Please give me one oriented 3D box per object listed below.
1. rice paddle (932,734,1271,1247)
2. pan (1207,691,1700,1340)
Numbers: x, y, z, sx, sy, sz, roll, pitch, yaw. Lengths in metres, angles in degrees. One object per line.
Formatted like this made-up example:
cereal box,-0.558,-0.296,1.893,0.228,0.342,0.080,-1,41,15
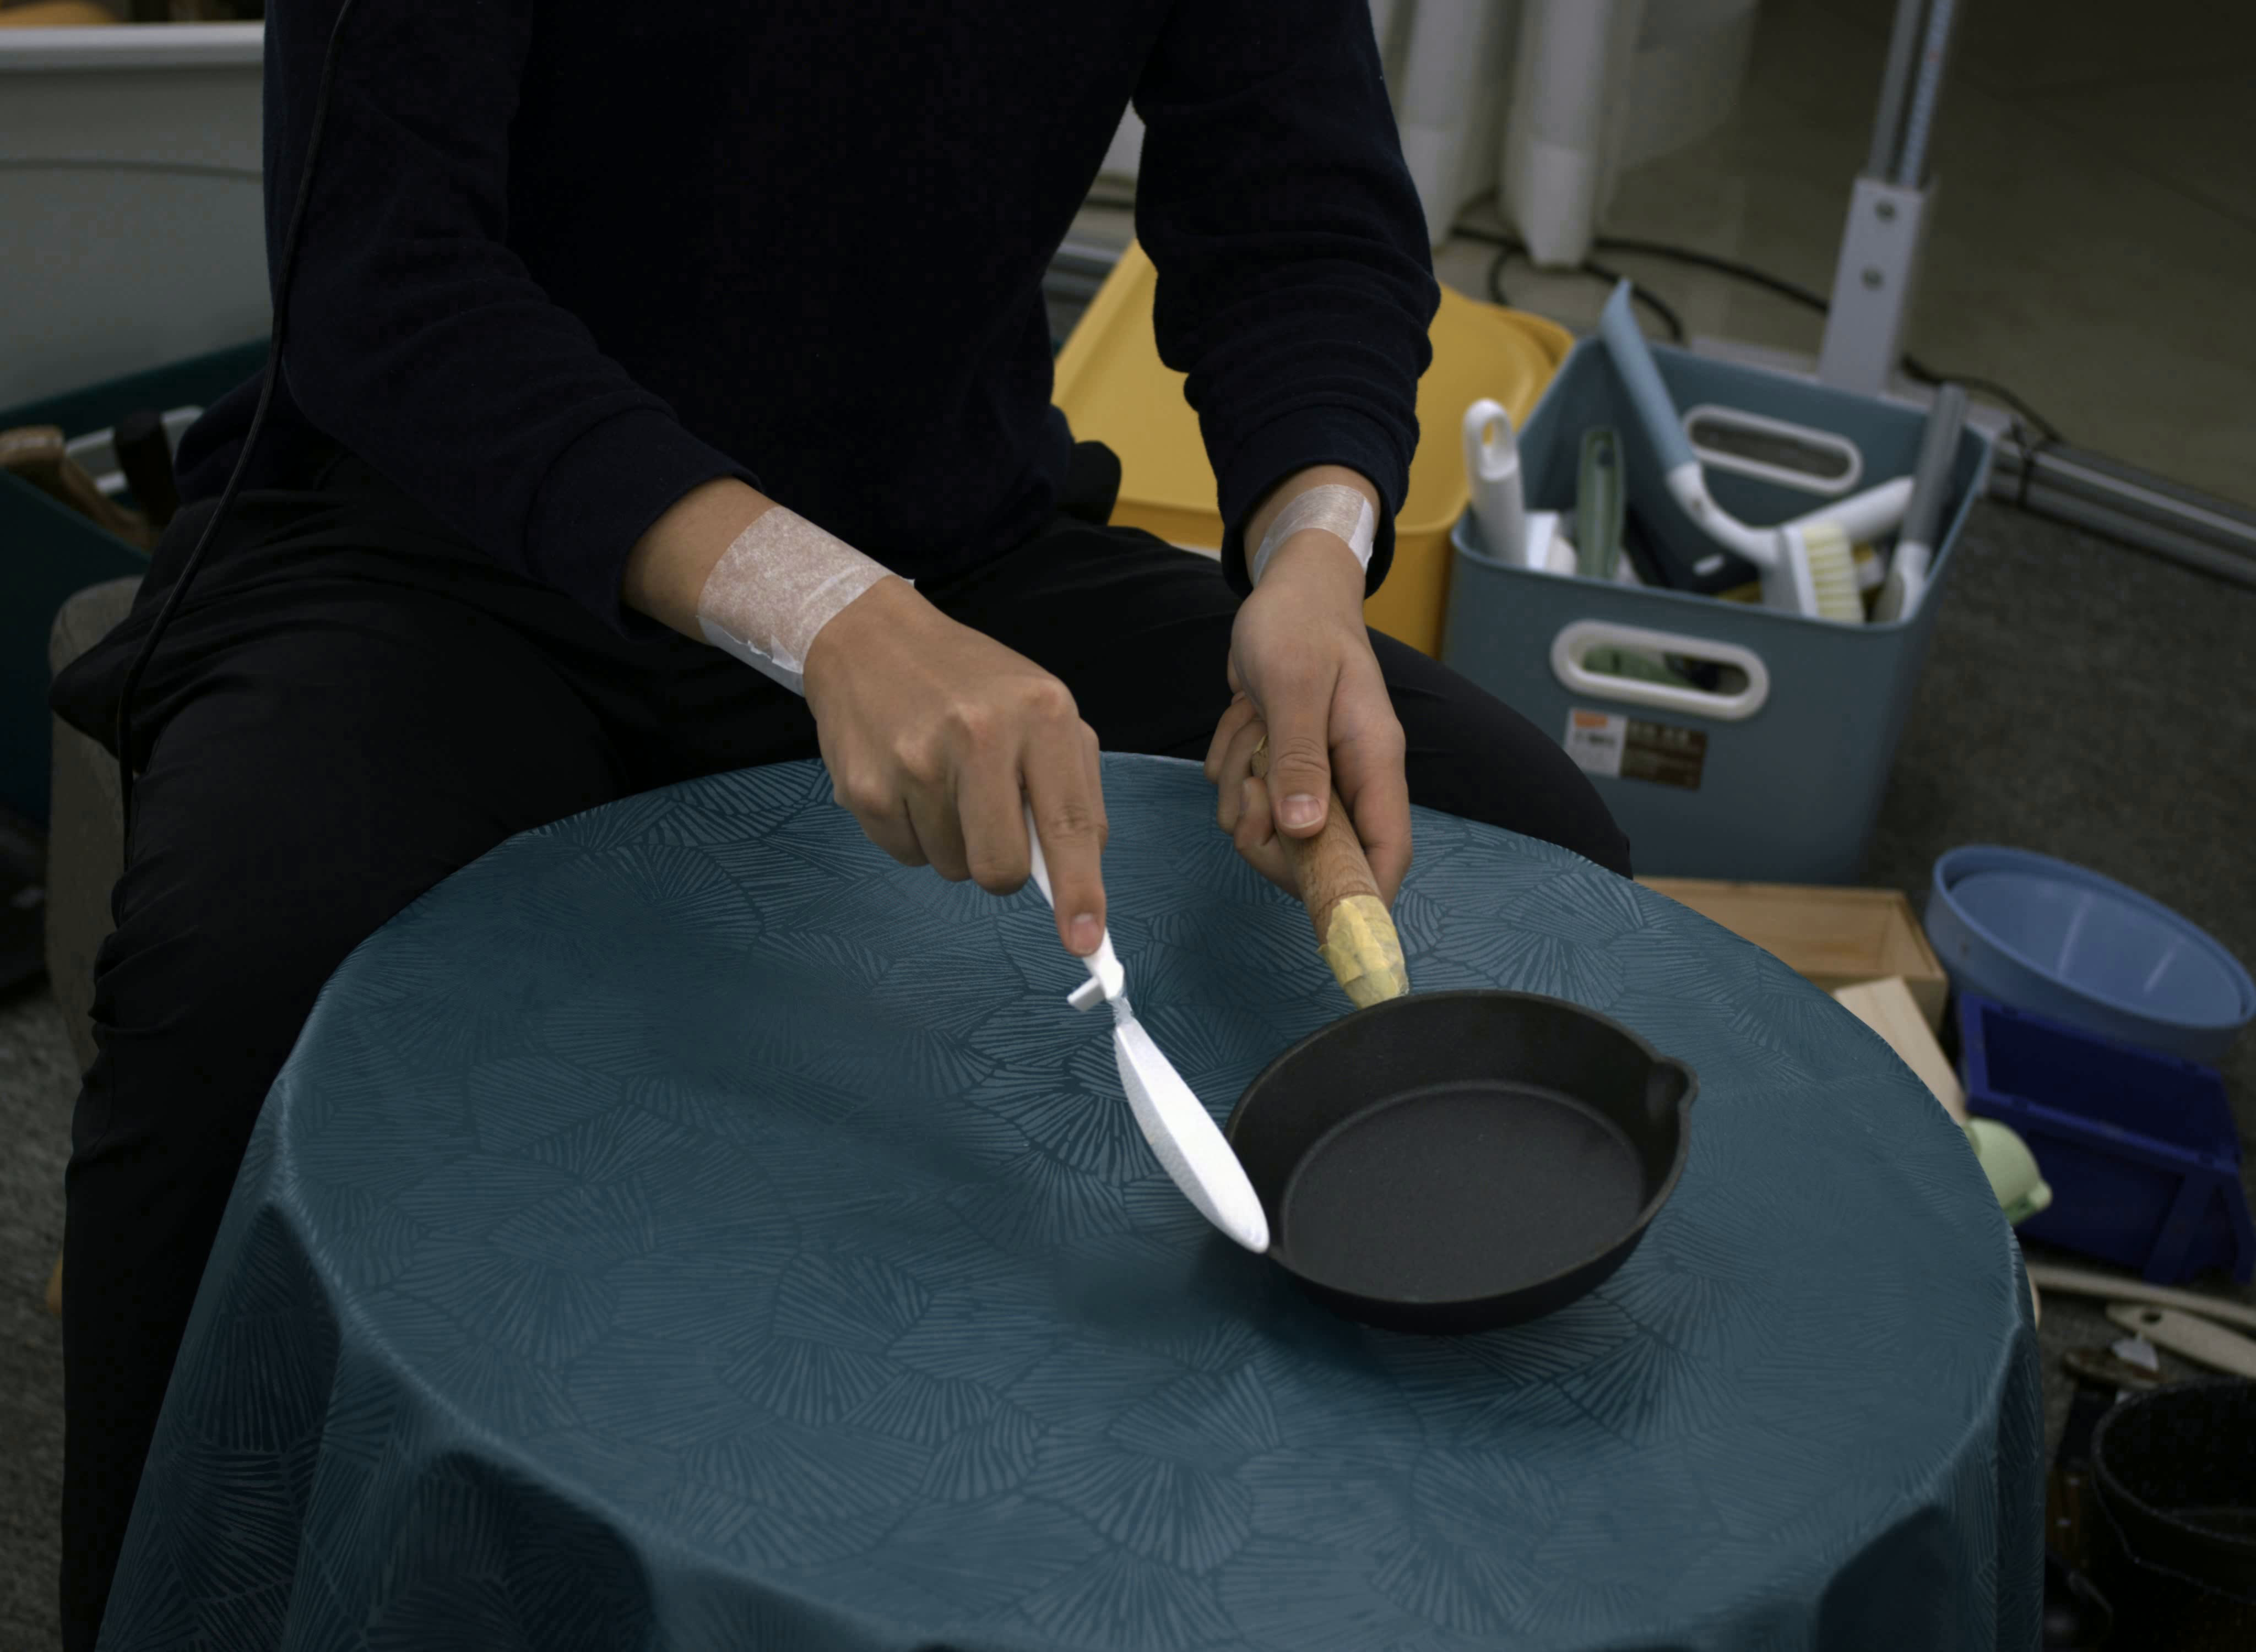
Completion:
rice paddle,-0.004,0.056,1.761,0.207,0.029,0.068,58,11,27
pan,0.092,0.062,1.833,0.168,0.049,0.327,-13,38,-4
